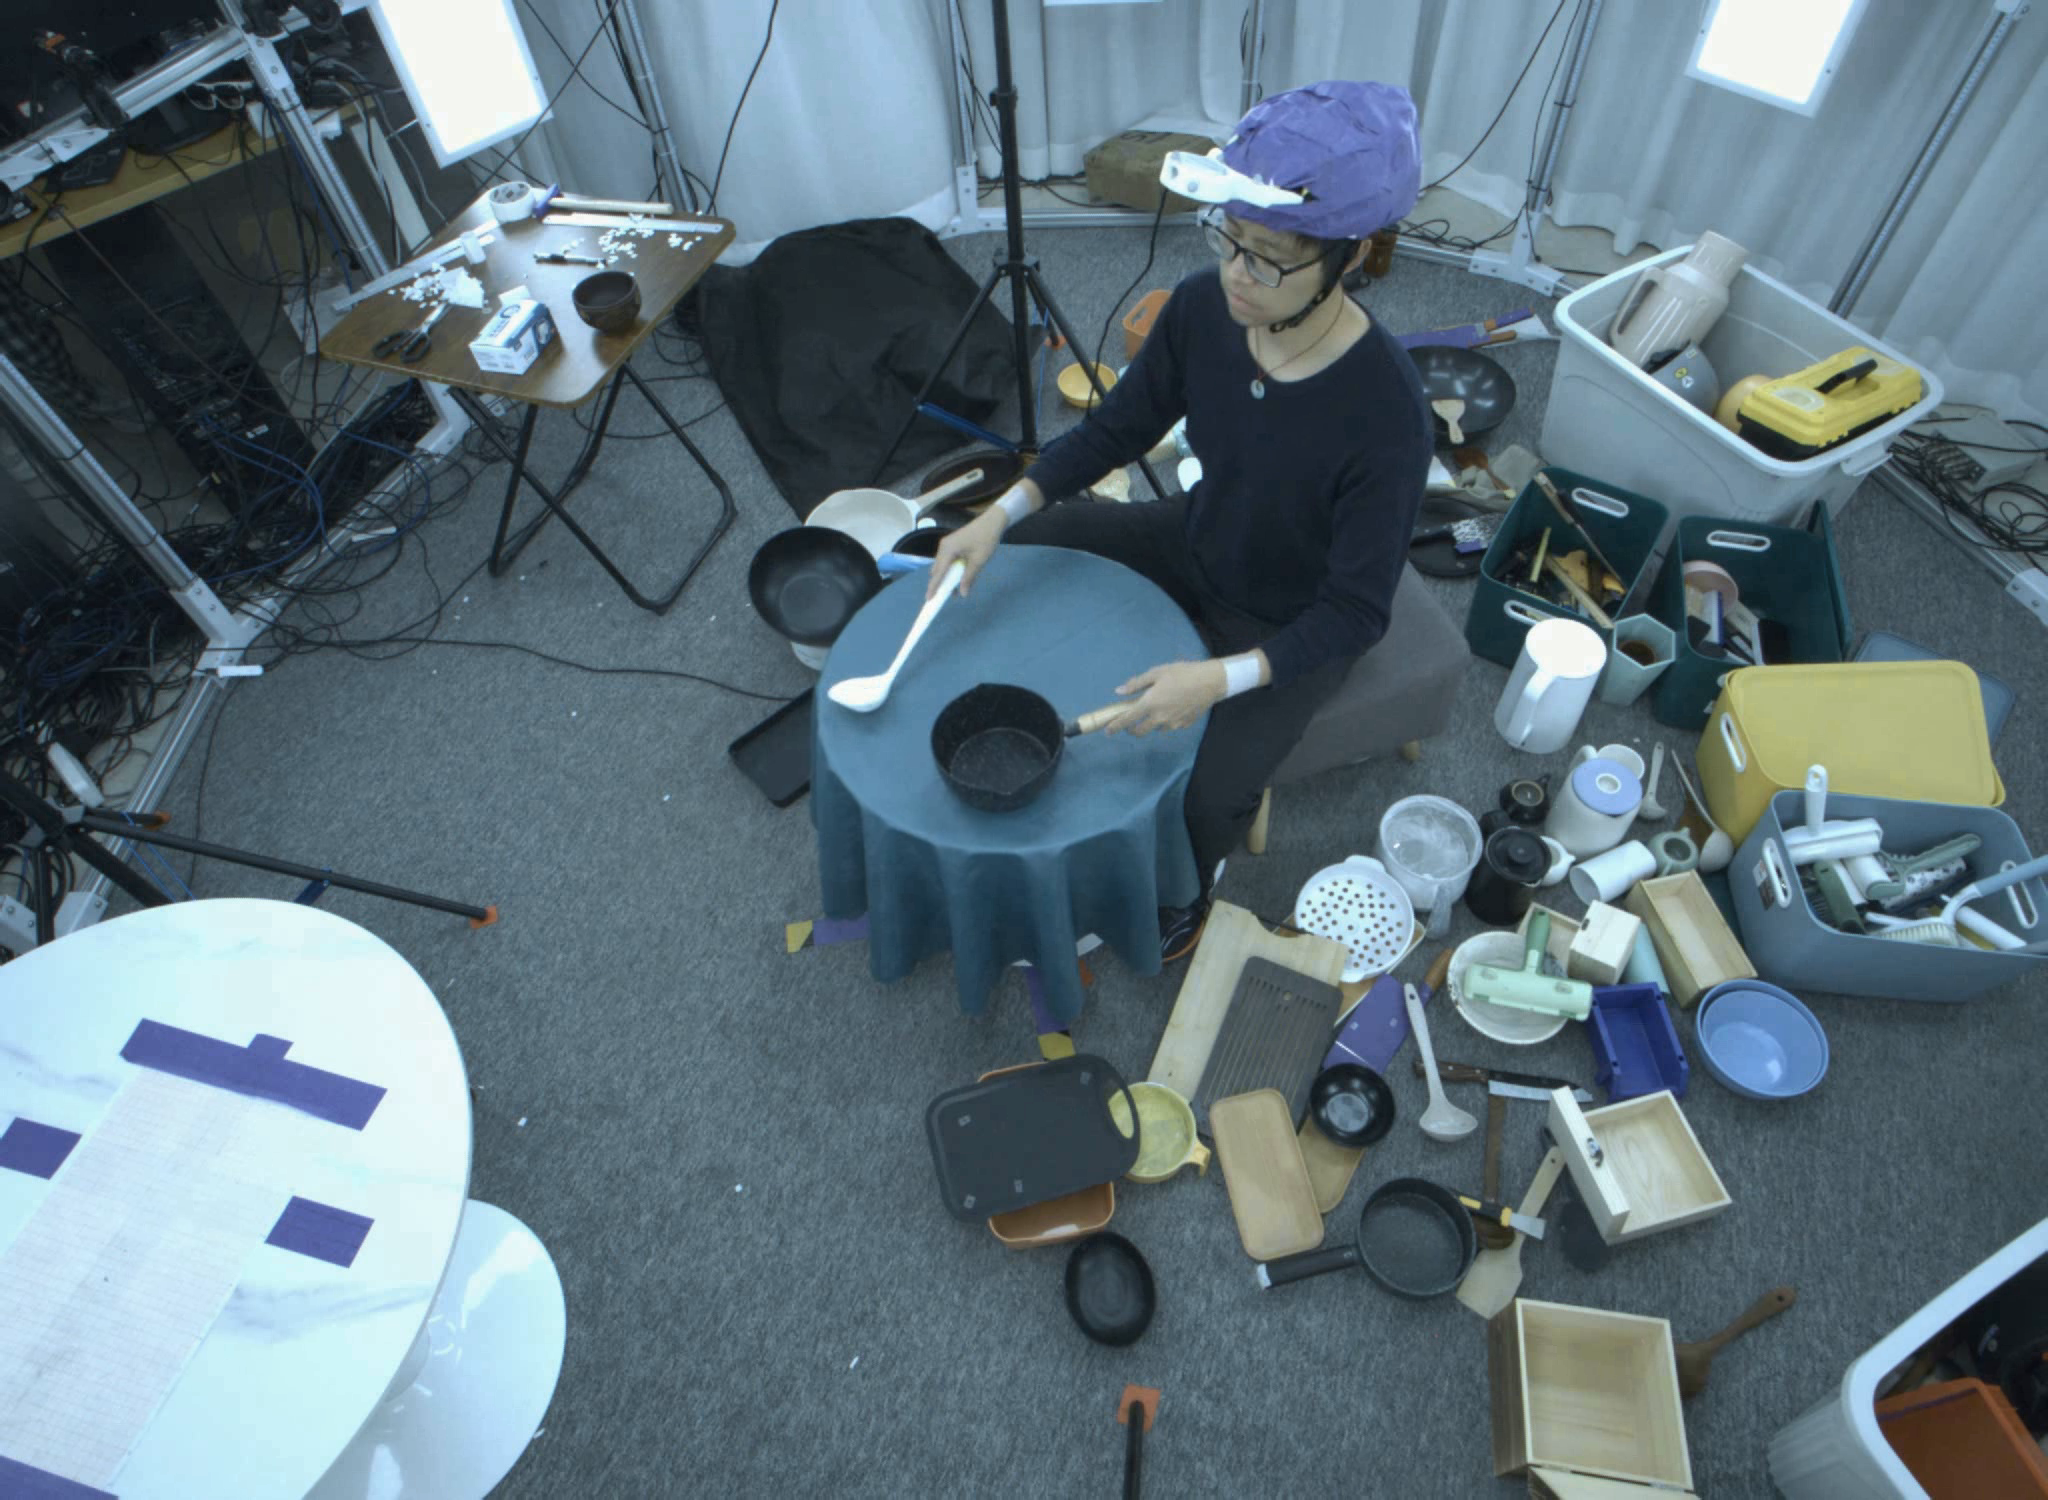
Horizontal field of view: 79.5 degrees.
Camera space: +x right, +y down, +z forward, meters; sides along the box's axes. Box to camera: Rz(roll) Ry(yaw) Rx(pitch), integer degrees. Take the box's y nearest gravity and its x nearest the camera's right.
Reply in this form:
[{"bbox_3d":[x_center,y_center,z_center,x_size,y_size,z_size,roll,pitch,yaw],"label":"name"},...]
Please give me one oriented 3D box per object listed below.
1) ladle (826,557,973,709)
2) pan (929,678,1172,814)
[{"bbox_3d":[-0.186,-0.181,1.846,0.293,0.071,0.088,-55,32,-9],"label":"ladle"},{"bbox_3d":[0.040,-0.019,1.733,0.344,0.109,0.204,-13,54,-5],"label":"pan"}]
